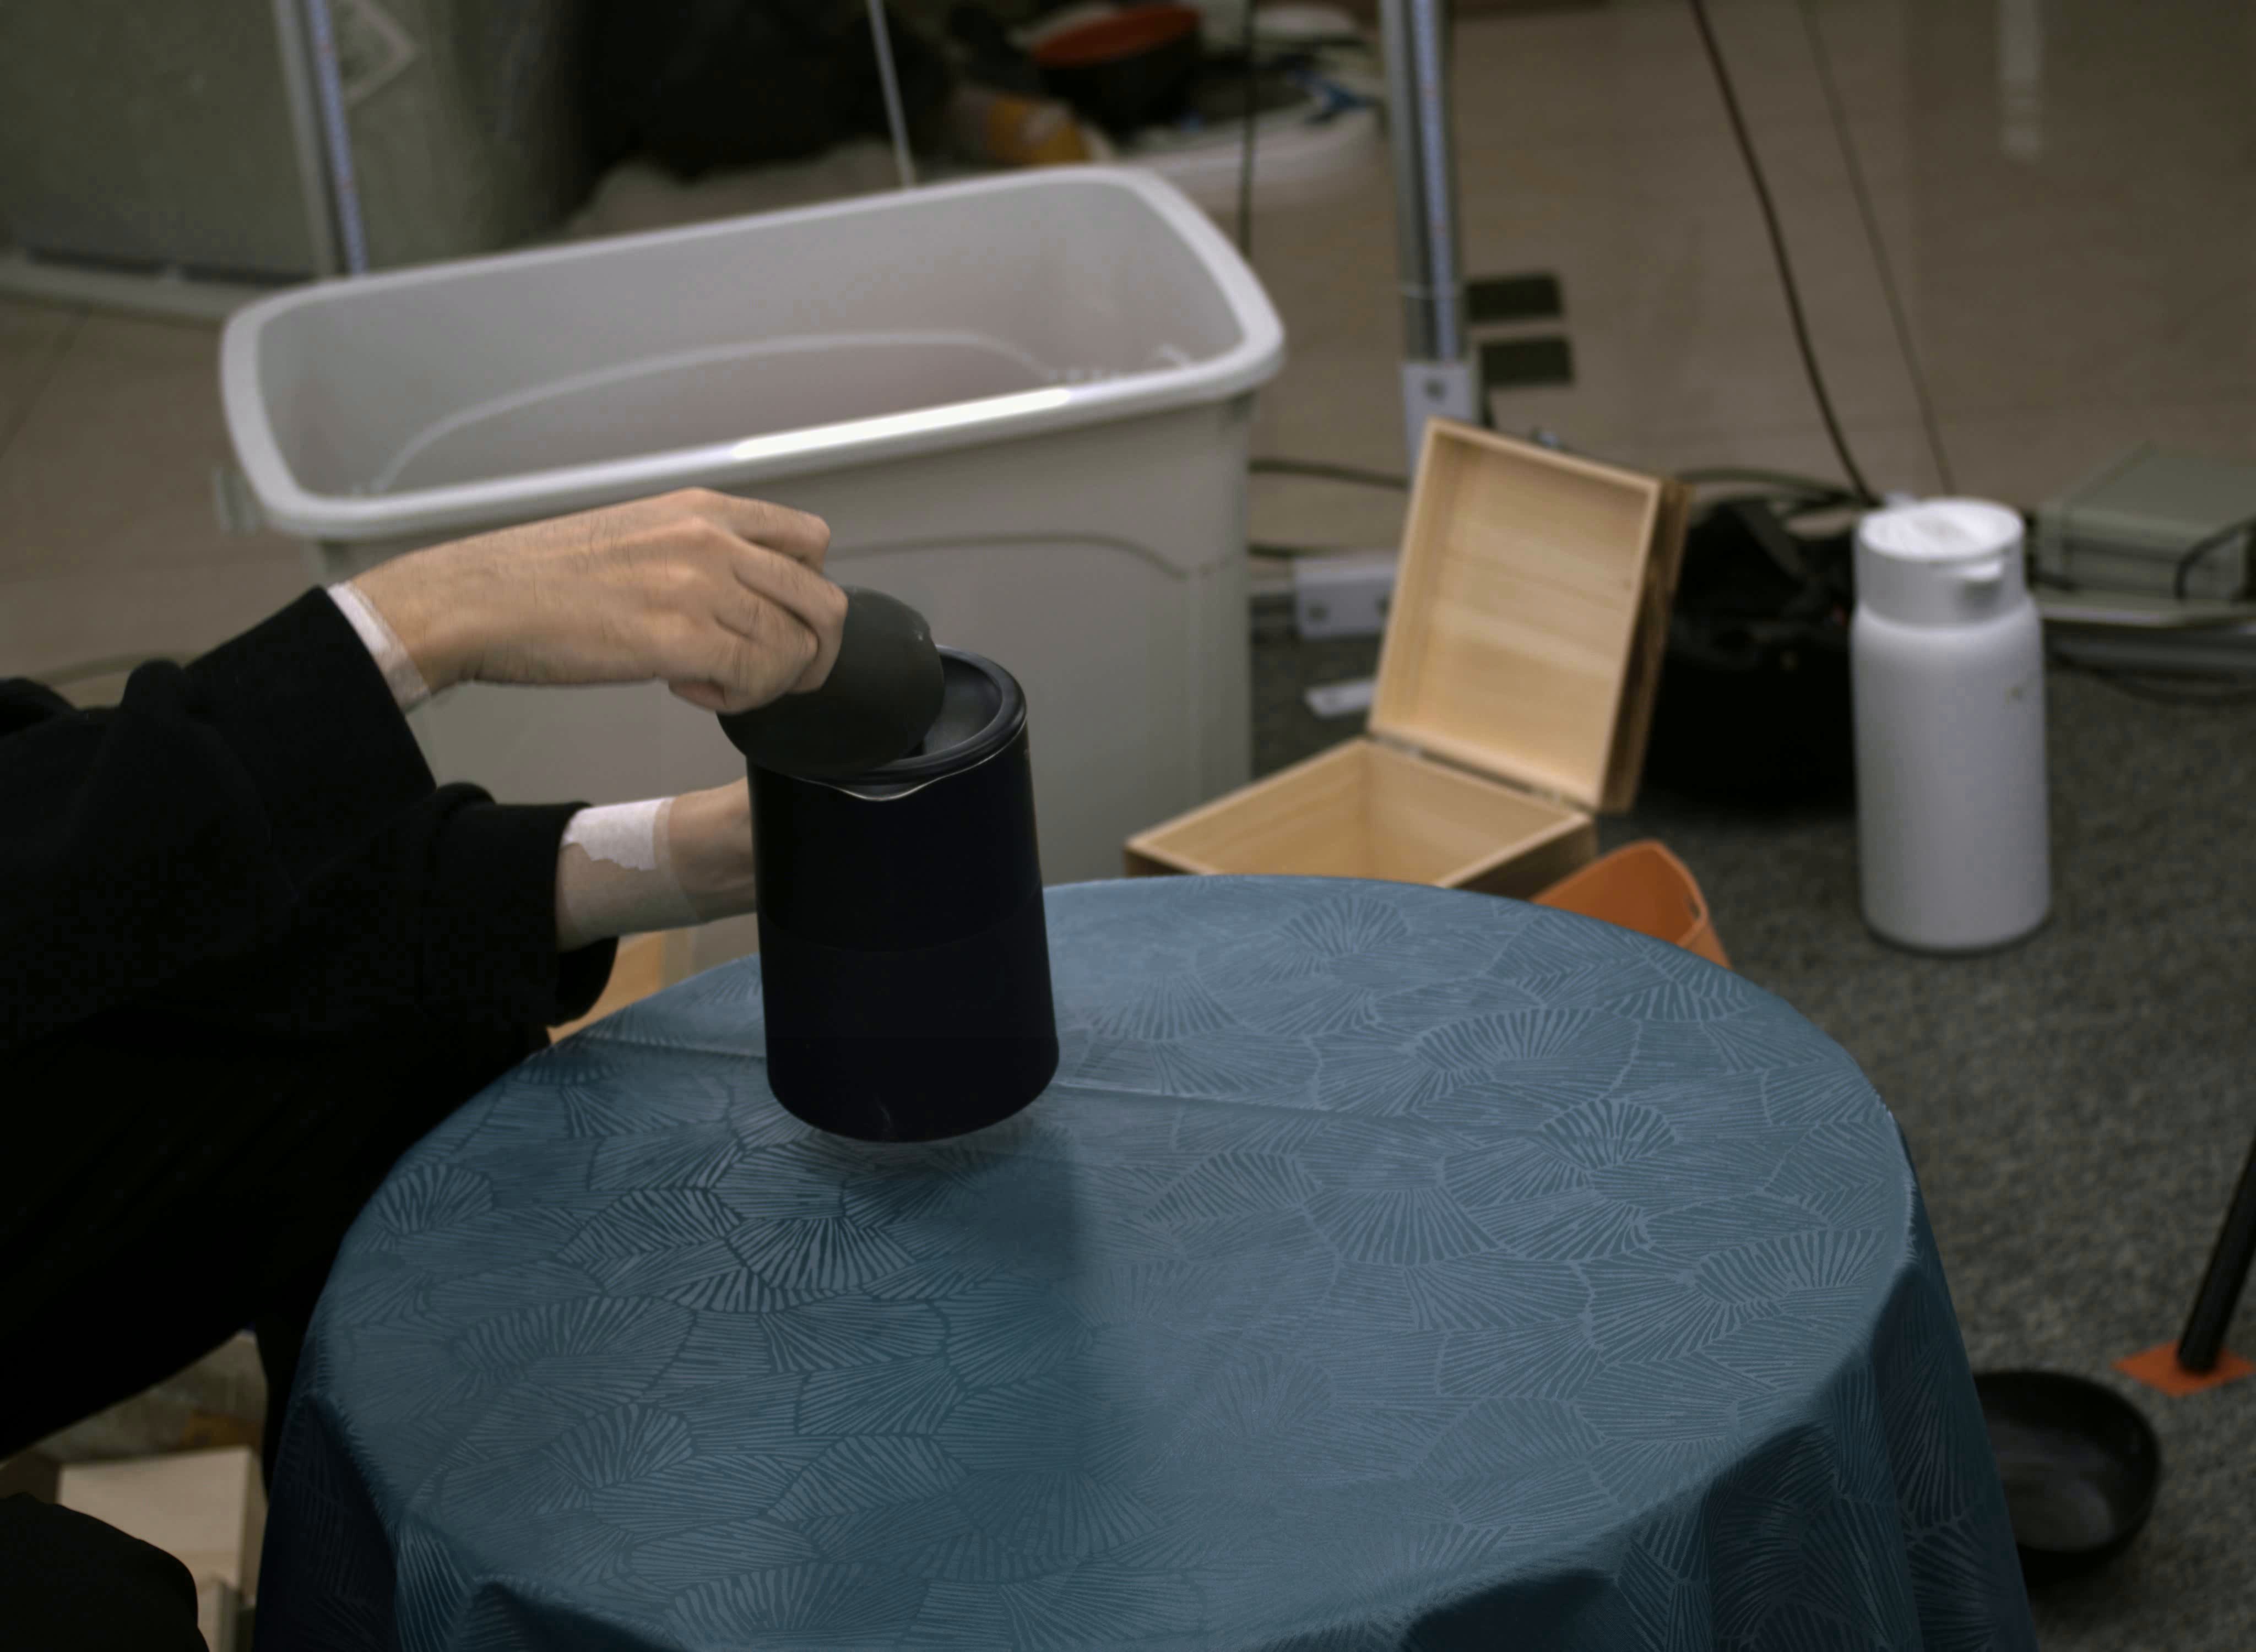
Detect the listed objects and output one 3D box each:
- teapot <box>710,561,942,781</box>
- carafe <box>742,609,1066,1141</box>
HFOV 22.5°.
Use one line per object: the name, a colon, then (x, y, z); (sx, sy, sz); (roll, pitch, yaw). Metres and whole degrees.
teapot: (-0.112, -0.057, 2.009); (0.083, 0.116, 0.052); (-14, 60, 15)
carafe: (-0.089, 0.009, 2.179); (0.114, 0.176, 0.168); (-5, 33, 0)
